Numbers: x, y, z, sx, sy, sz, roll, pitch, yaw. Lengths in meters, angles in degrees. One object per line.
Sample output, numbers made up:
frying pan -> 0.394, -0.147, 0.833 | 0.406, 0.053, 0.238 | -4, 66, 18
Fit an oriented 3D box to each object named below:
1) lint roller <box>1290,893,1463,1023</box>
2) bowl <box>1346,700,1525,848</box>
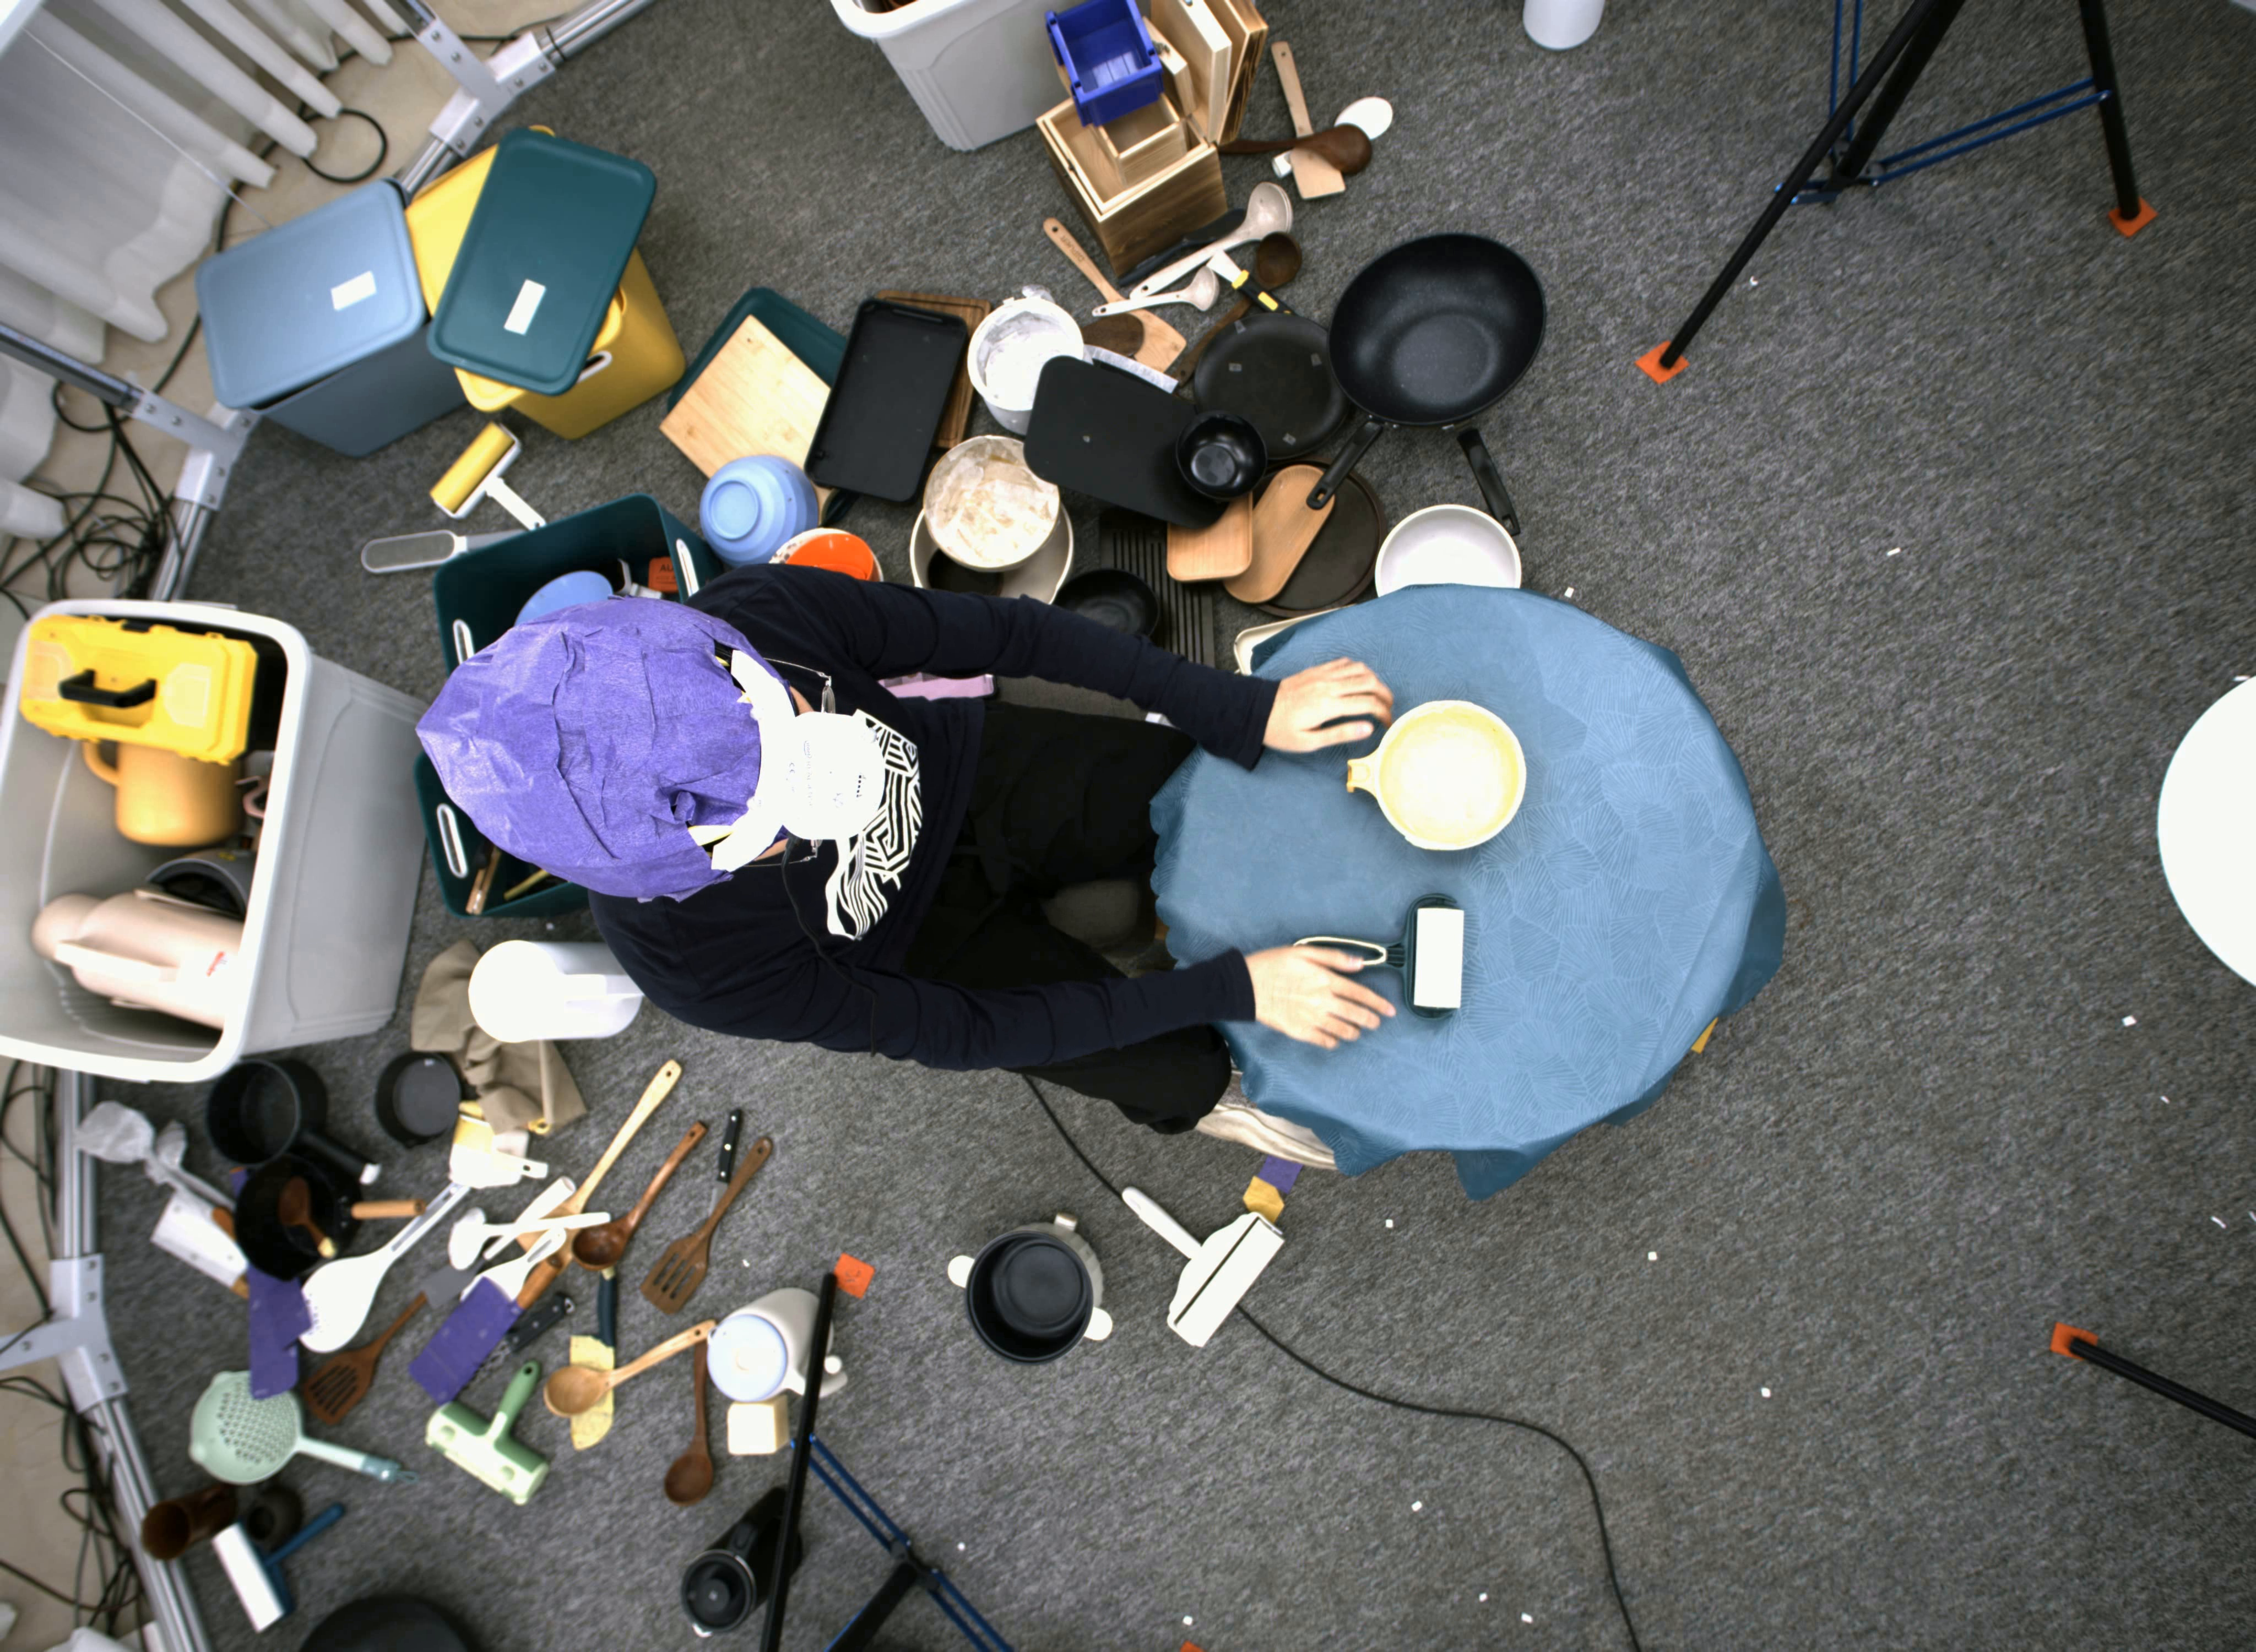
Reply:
lint roller -> 0.256, 0.133, 1.440 | 0.181, 0.048, 0.134 | 2, 87, 15
bowl -> 0.316, -0.052, 1.425 | 0.180, 0.074, 0.152 | -4, 88, 10
